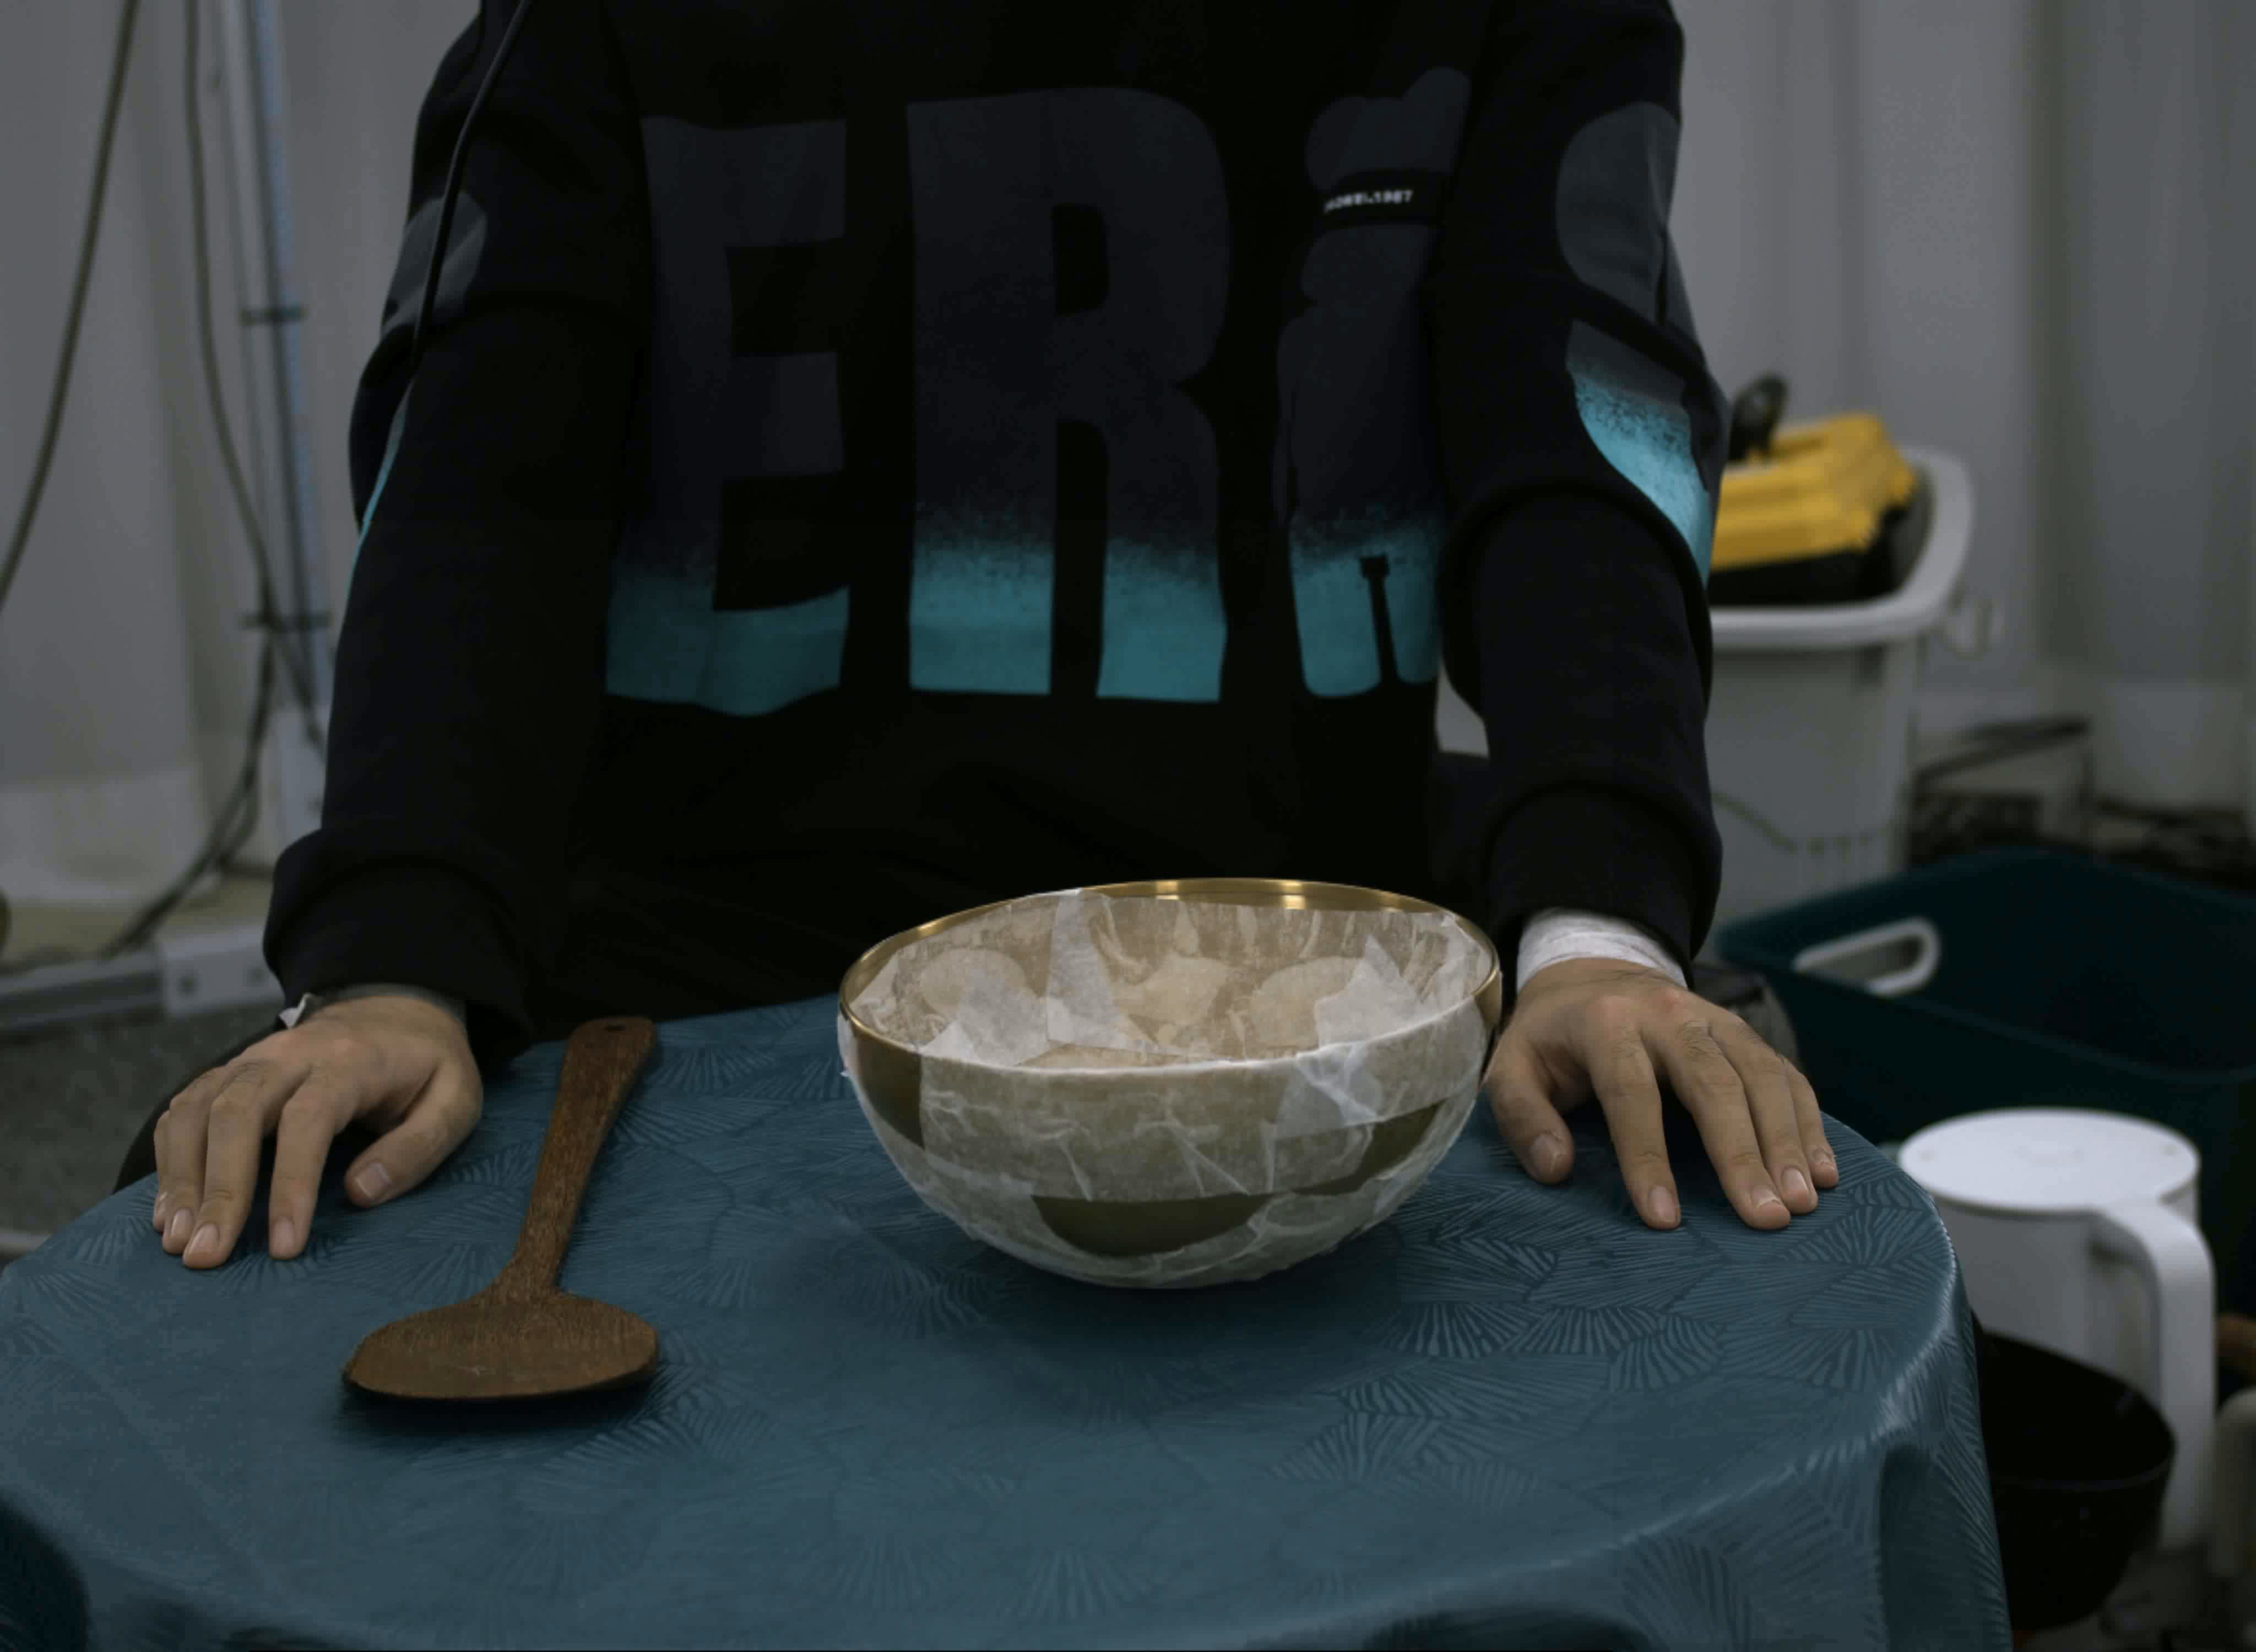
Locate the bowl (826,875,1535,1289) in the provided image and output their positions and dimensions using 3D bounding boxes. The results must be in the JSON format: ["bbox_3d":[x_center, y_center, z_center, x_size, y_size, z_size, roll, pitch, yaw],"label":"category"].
[{"bbox_3d":[0.017,0.085,1.647,0.214,0.094,0.216,-4,13,1],"label":"bowl"}]

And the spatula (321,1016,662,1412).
[{"bbox_3d":[-0.180,0.116,1.718,0.096,0.016,0.388,-2,15,1],"label":"spatula"}]
